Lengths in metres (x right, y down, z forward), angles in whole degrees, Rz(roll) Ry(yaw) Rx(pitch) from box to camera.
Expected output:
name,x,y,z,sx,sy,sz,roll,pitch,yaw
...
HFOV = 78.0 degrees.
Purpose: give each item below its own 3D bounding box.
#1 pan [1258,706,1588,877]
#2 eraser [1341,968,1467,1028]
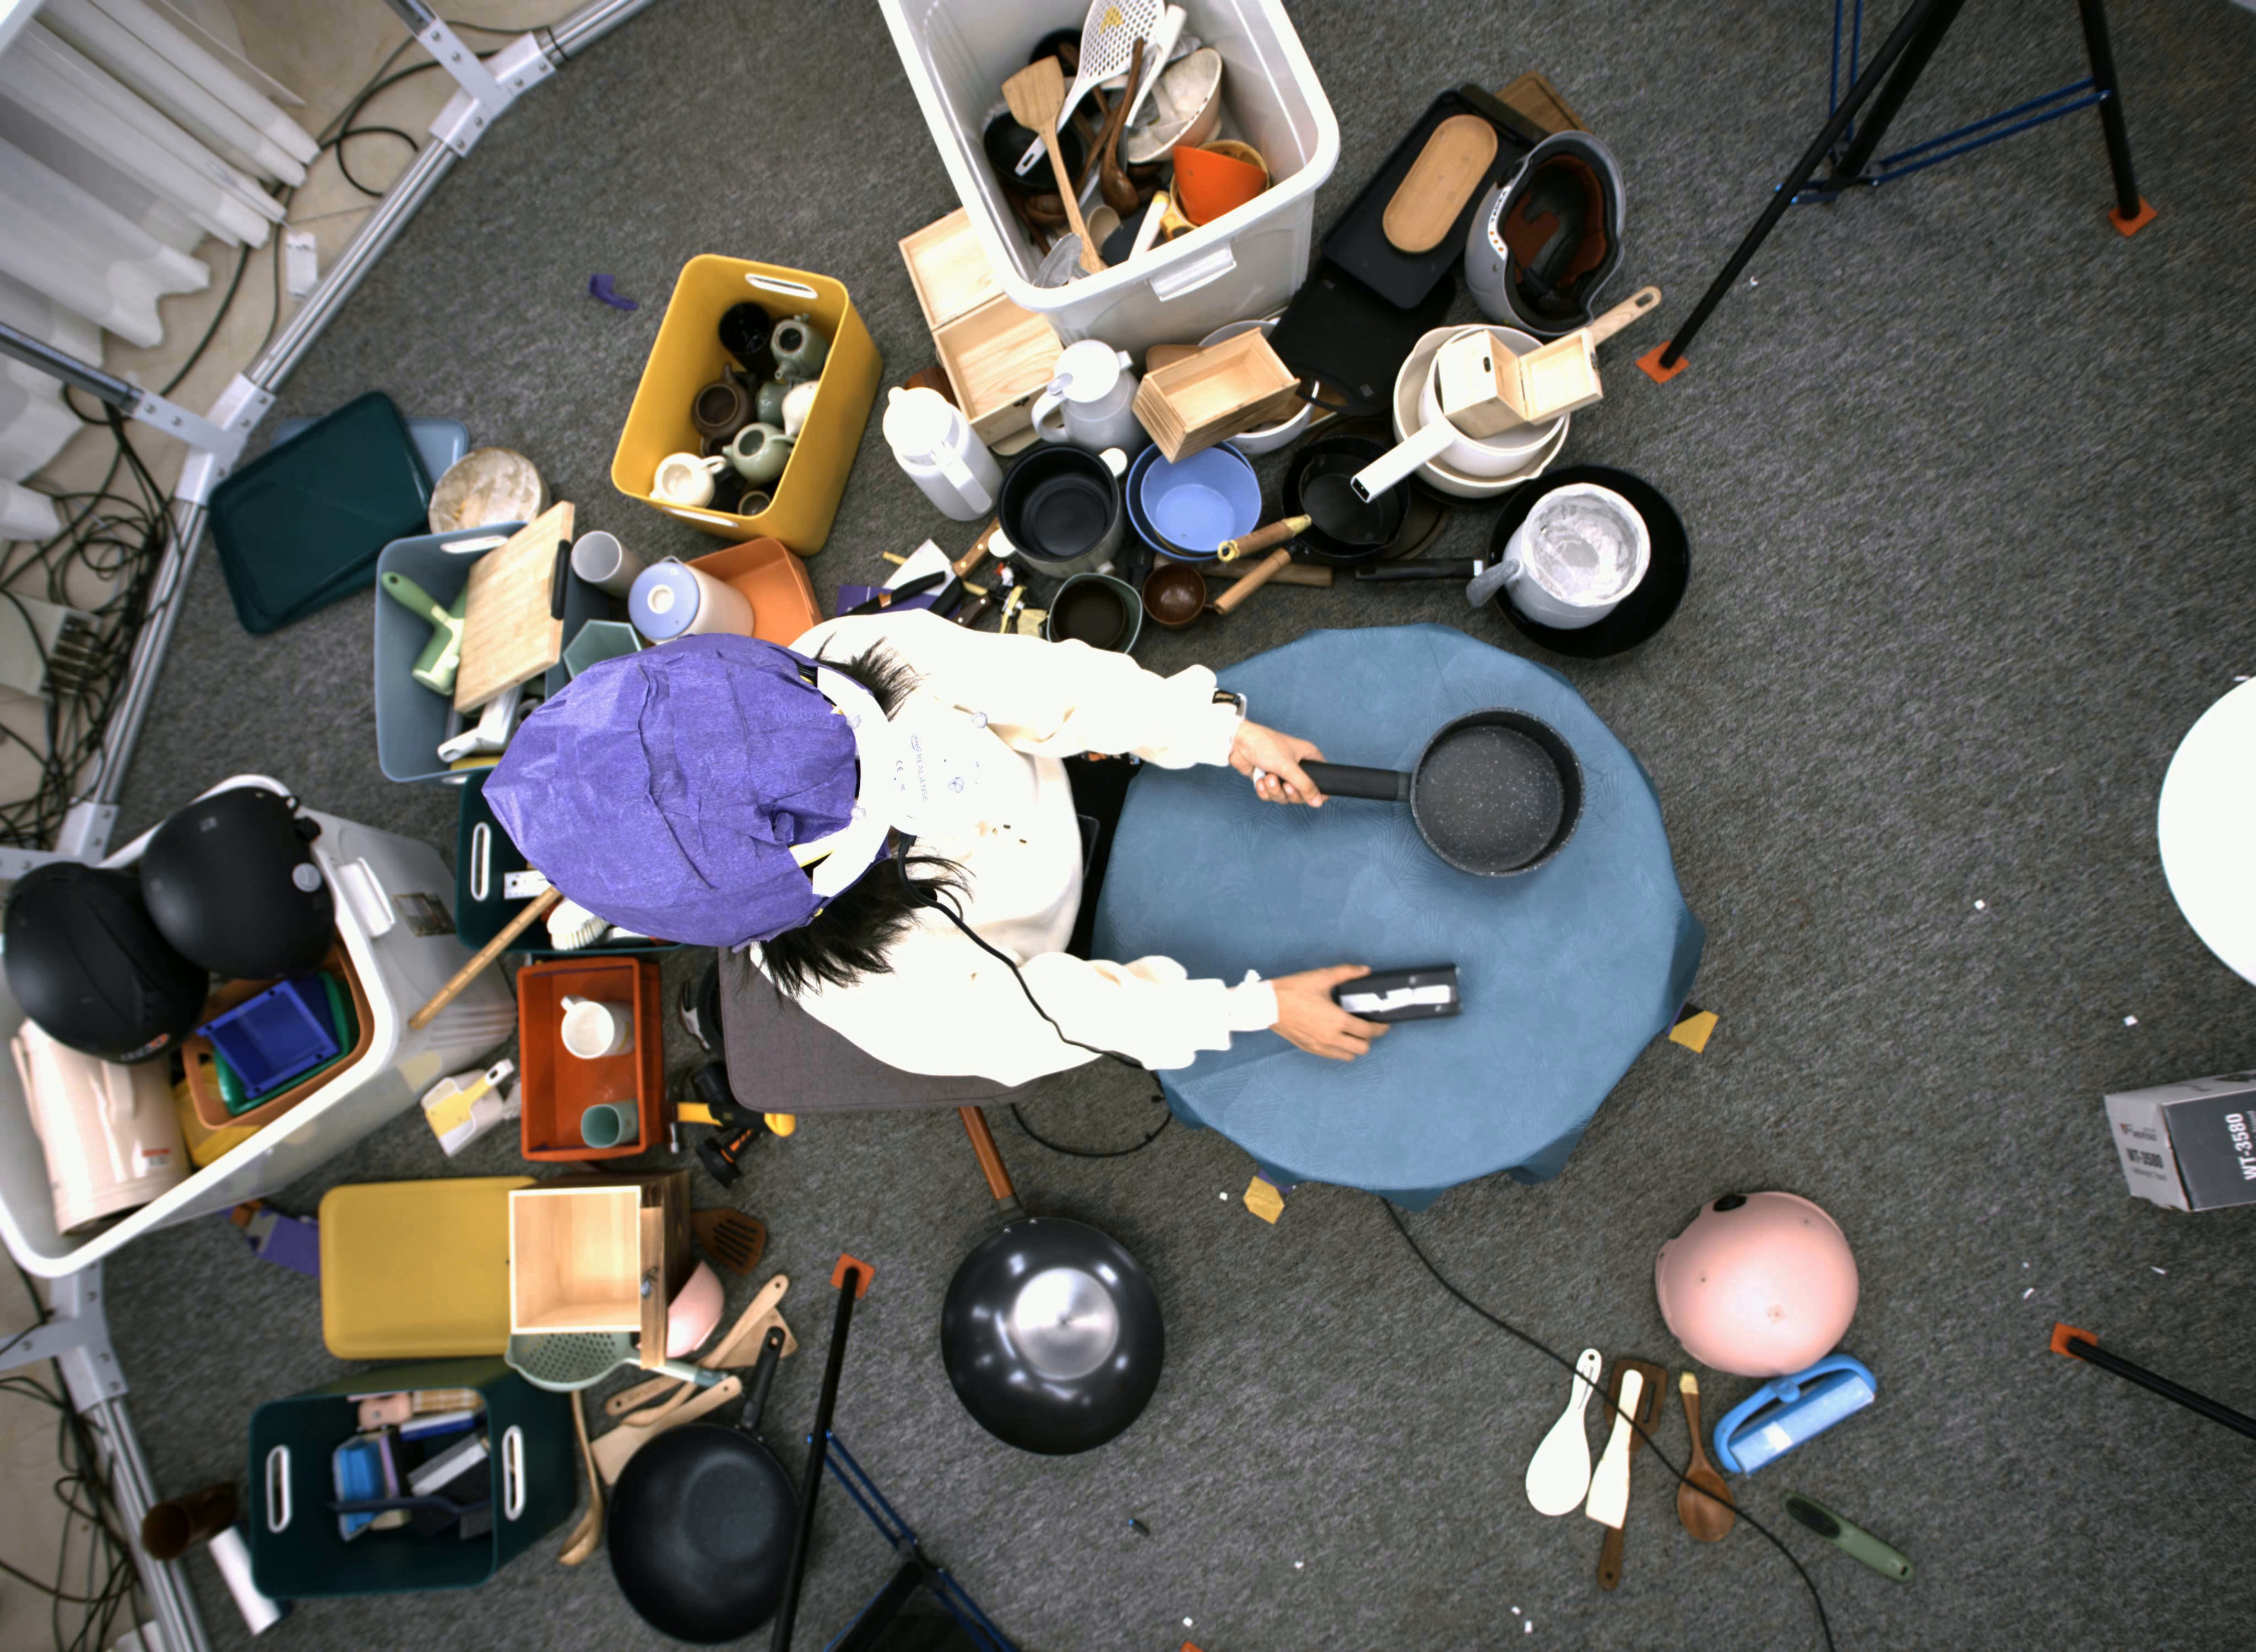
name,x,y,z,sx,sy,sz,roll,pitch,yaw
pan,0.297,-0.043,1.412,0.329,0.086,0.171,8,88,7
eraser,0.285,0.176,1.432,0.126,0.030,0.053,-6,92,10
